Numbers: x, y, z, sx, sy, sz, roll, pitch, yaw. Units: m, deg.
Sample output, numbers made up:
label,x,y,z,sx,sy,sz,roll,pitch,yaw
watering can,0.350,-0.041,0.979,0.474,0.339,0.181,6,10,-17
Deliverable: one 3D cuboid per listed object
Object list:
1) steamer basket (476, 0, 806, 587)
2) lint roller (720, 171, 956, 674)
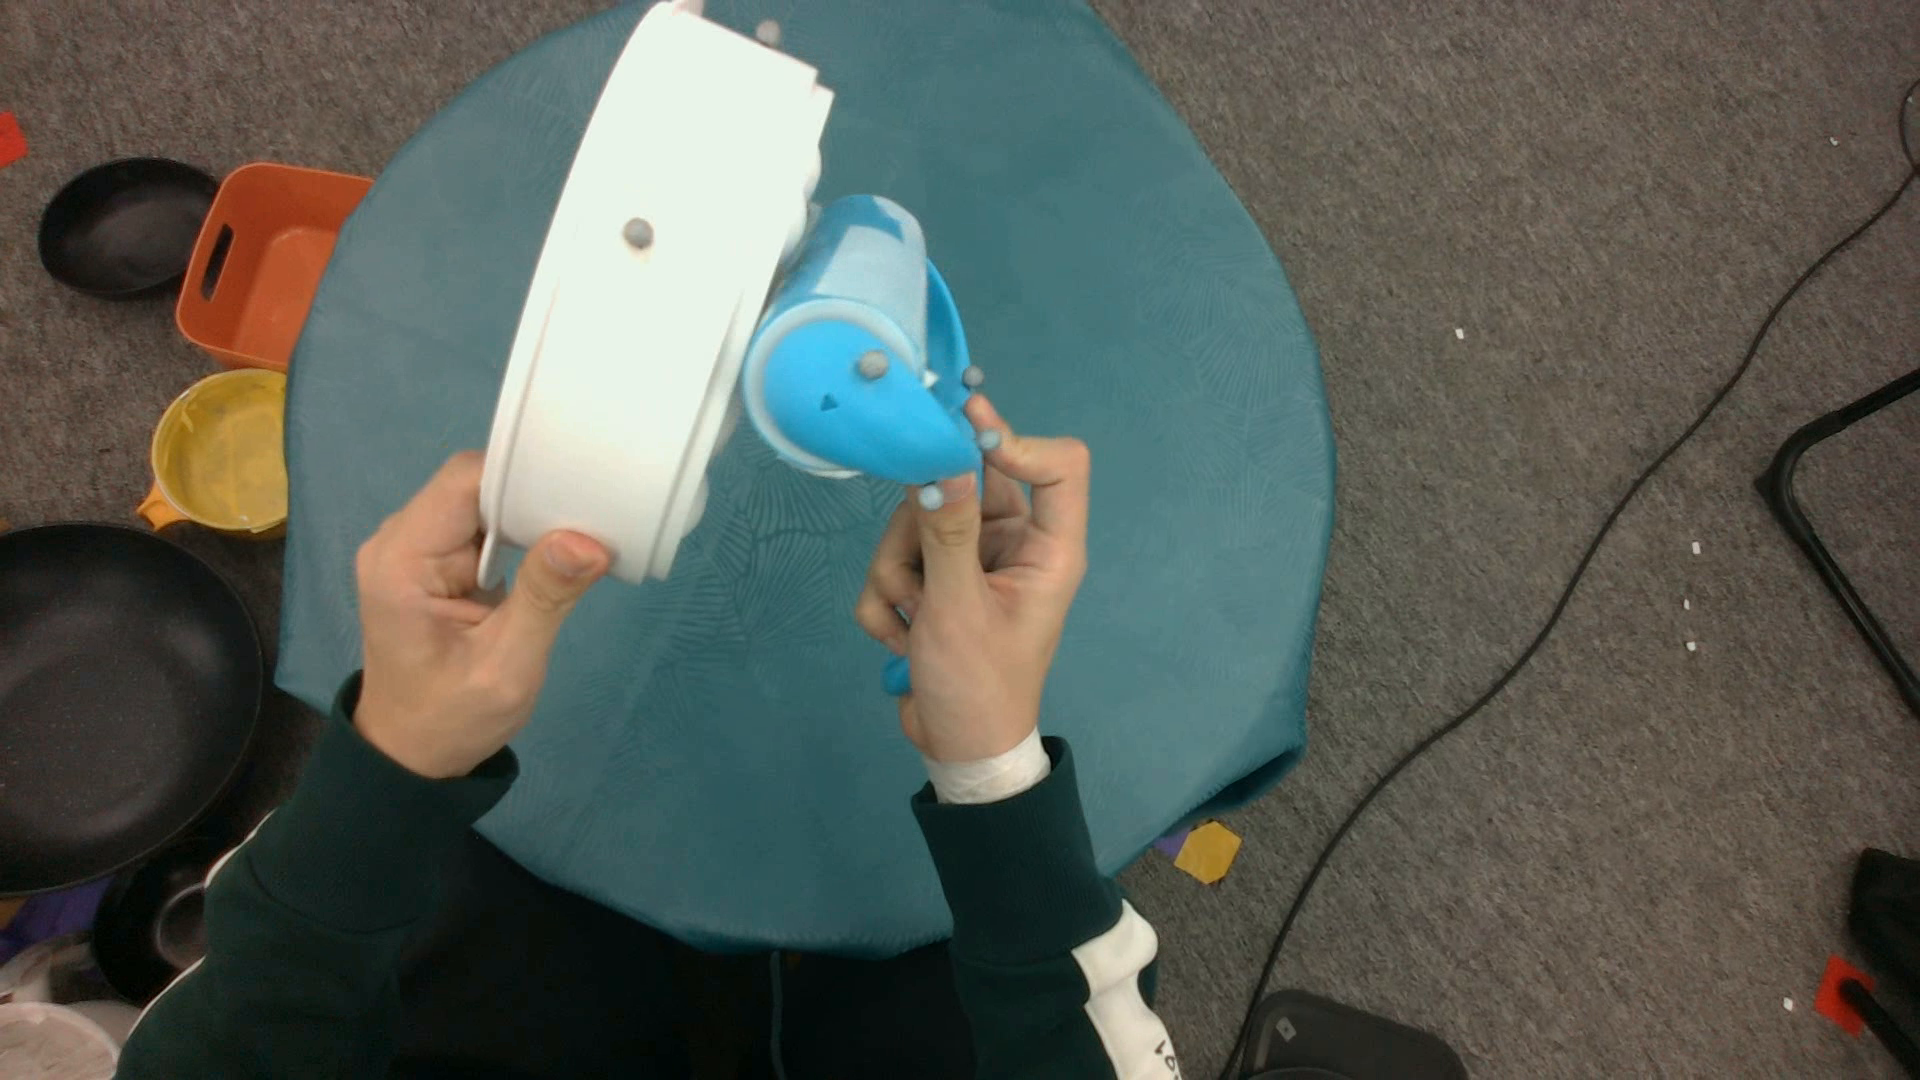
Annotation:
label,x,y,z,sx,sy,sz,roll,pitch,yaw
steamer basket,-0.110,-0.087,0.498,0.069,0.201,0.230,16,87,-11
lint roller,-0.034,-0.036,0.512,0.068,0.229,0.179,-17,117,1
